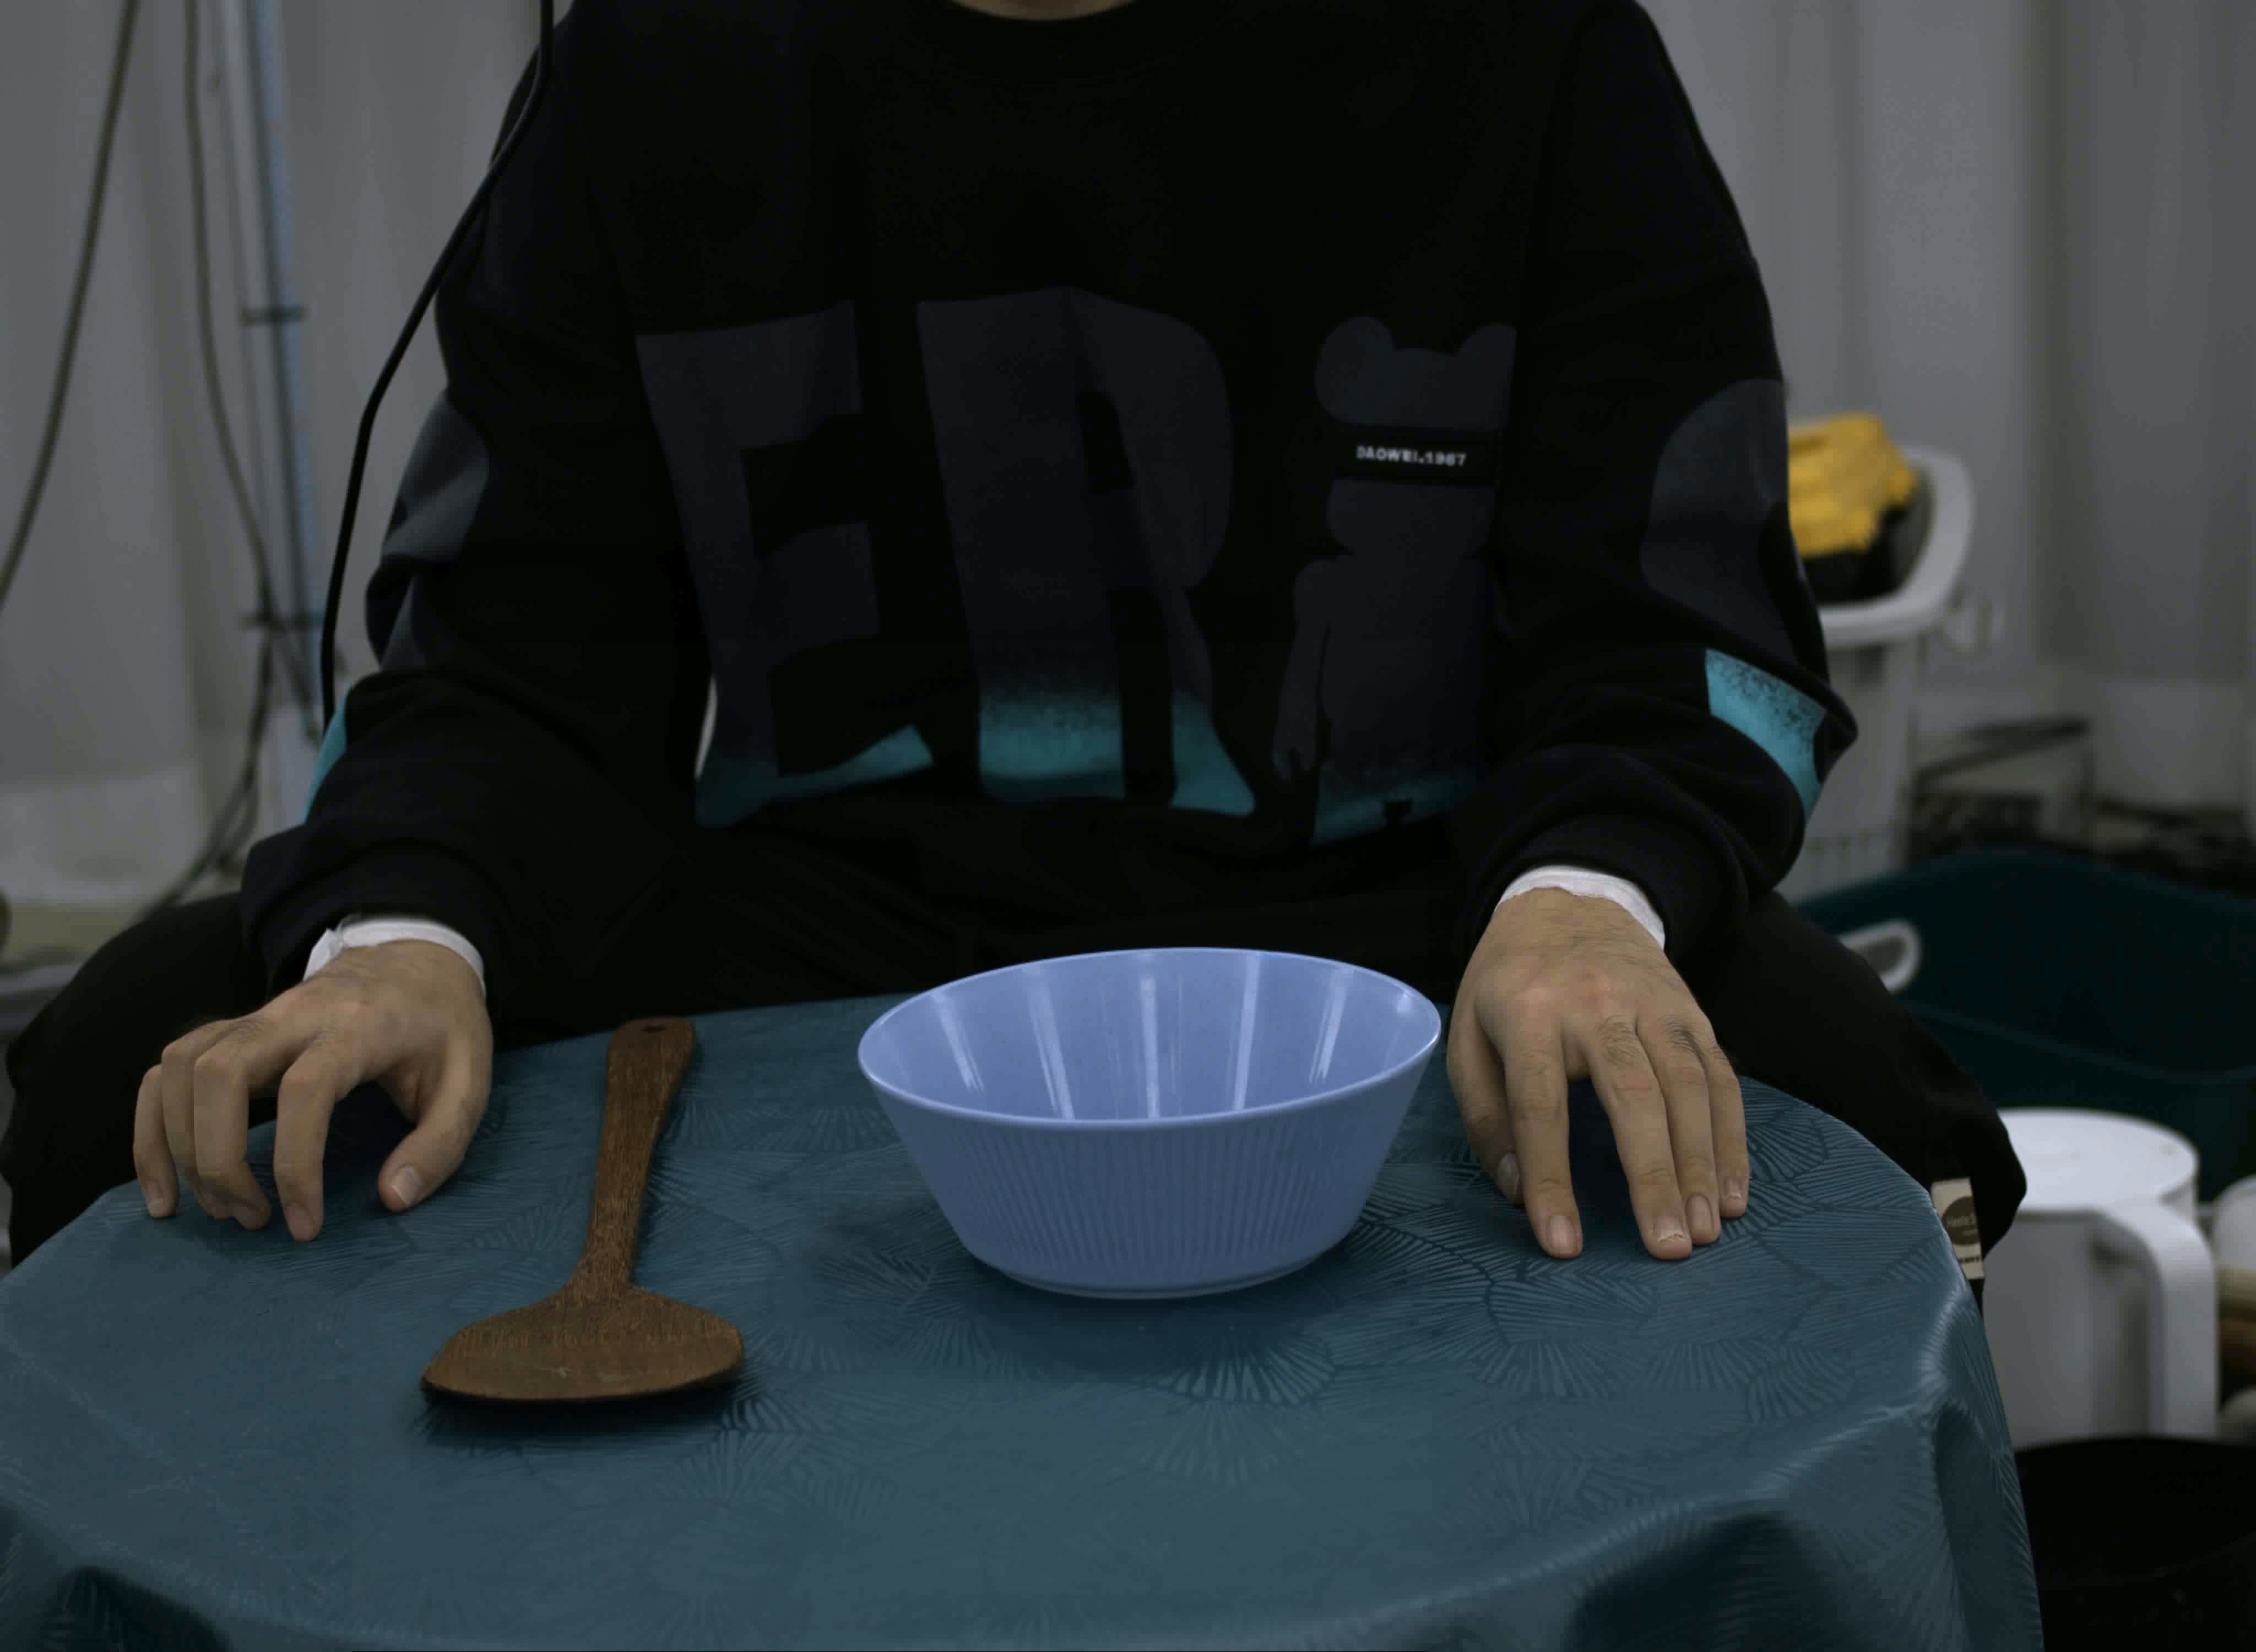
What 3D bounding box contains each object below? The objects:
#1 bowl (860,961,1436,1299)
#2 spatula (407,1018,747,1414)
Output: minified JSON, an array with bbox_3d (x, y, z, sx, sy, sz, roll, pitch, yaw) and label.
[{"bbox_3d":[0.007,0.094,1.658,0.175,0.070,0.177,-2,13,0],"label":"bowl"},{"bbox_3d":[-0.160,0.116,1.714,0.096,0.016,0.388,-3,15,-1],"label":"spatula"}]
